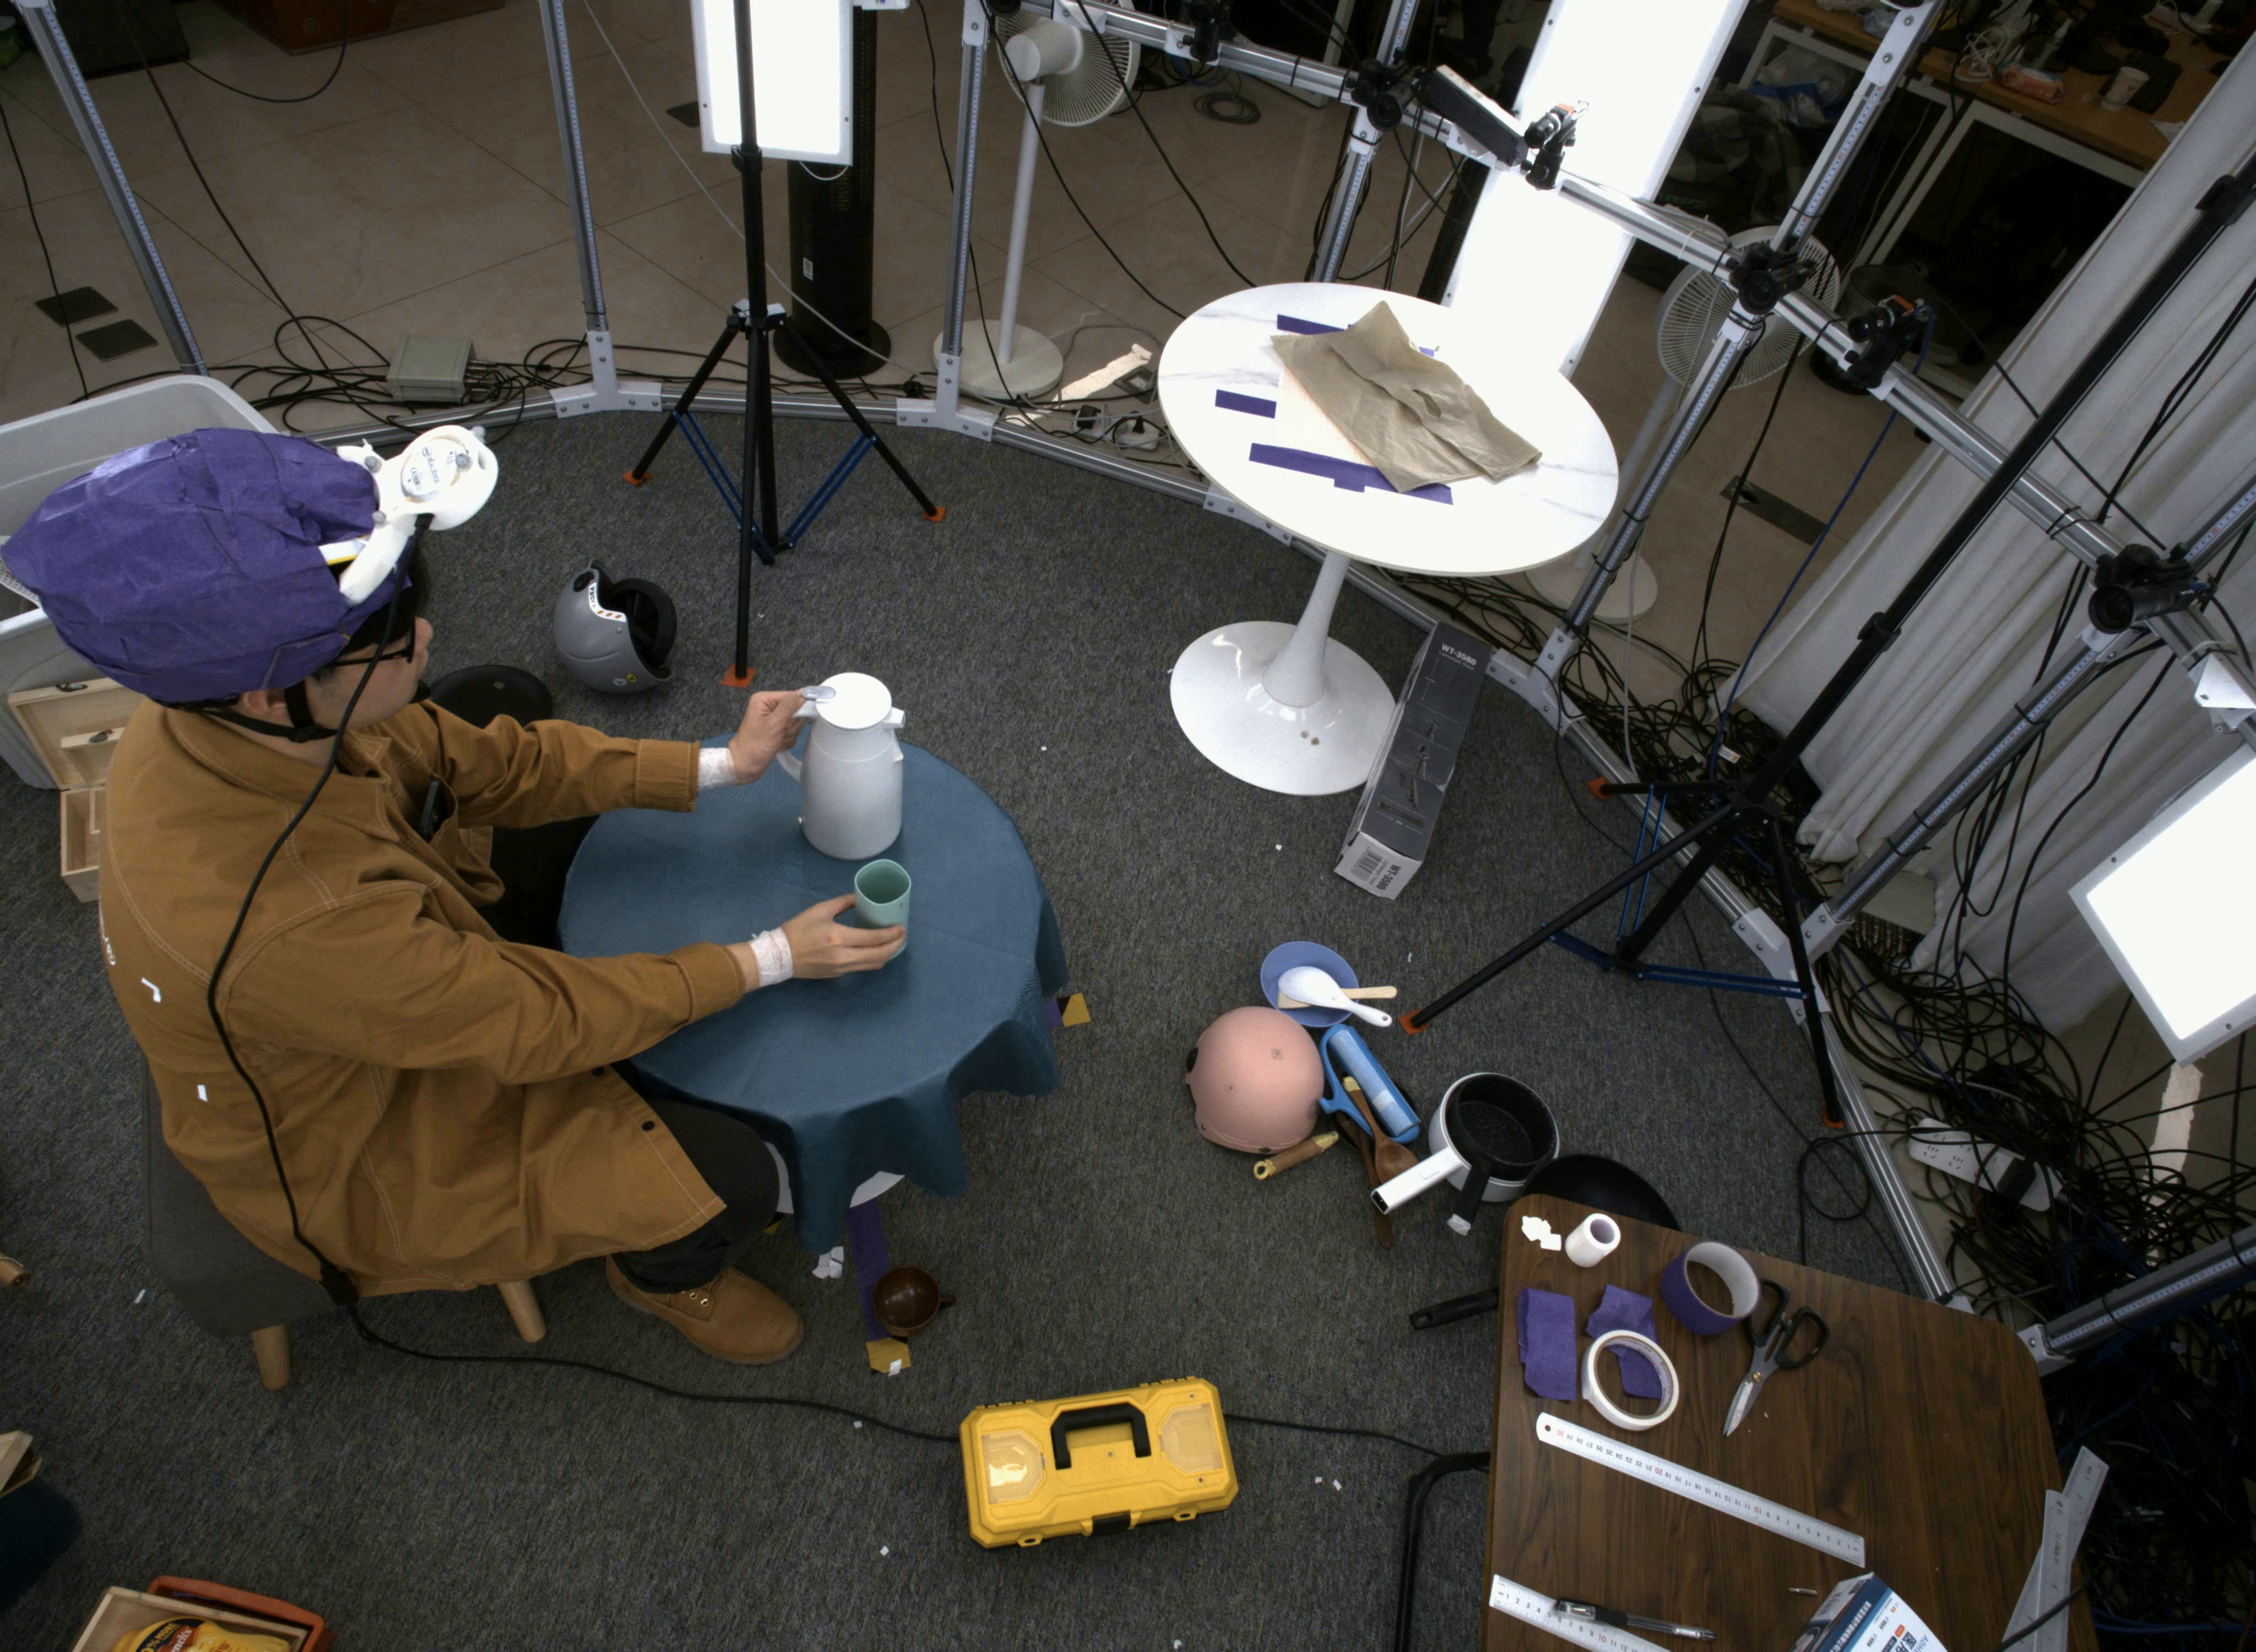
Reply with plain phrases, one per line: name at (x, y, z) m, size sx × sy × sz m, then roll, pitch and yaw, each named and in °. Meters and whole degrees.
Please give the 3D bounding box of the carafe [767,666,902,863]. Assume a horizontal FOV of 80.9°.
carafe at (-0.371, -0.086, 1.642) m, size 0.167 × 0.254 × 0.130 m, roll 9°, pitch 50°, yaw -4°

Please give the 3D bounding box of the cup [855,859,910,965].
cup at (-0.303, 0.105, 1.594) m, size 0.066 × 0.135 × 0.065 m, roll 6°, pitch 51°, yaw -7°
